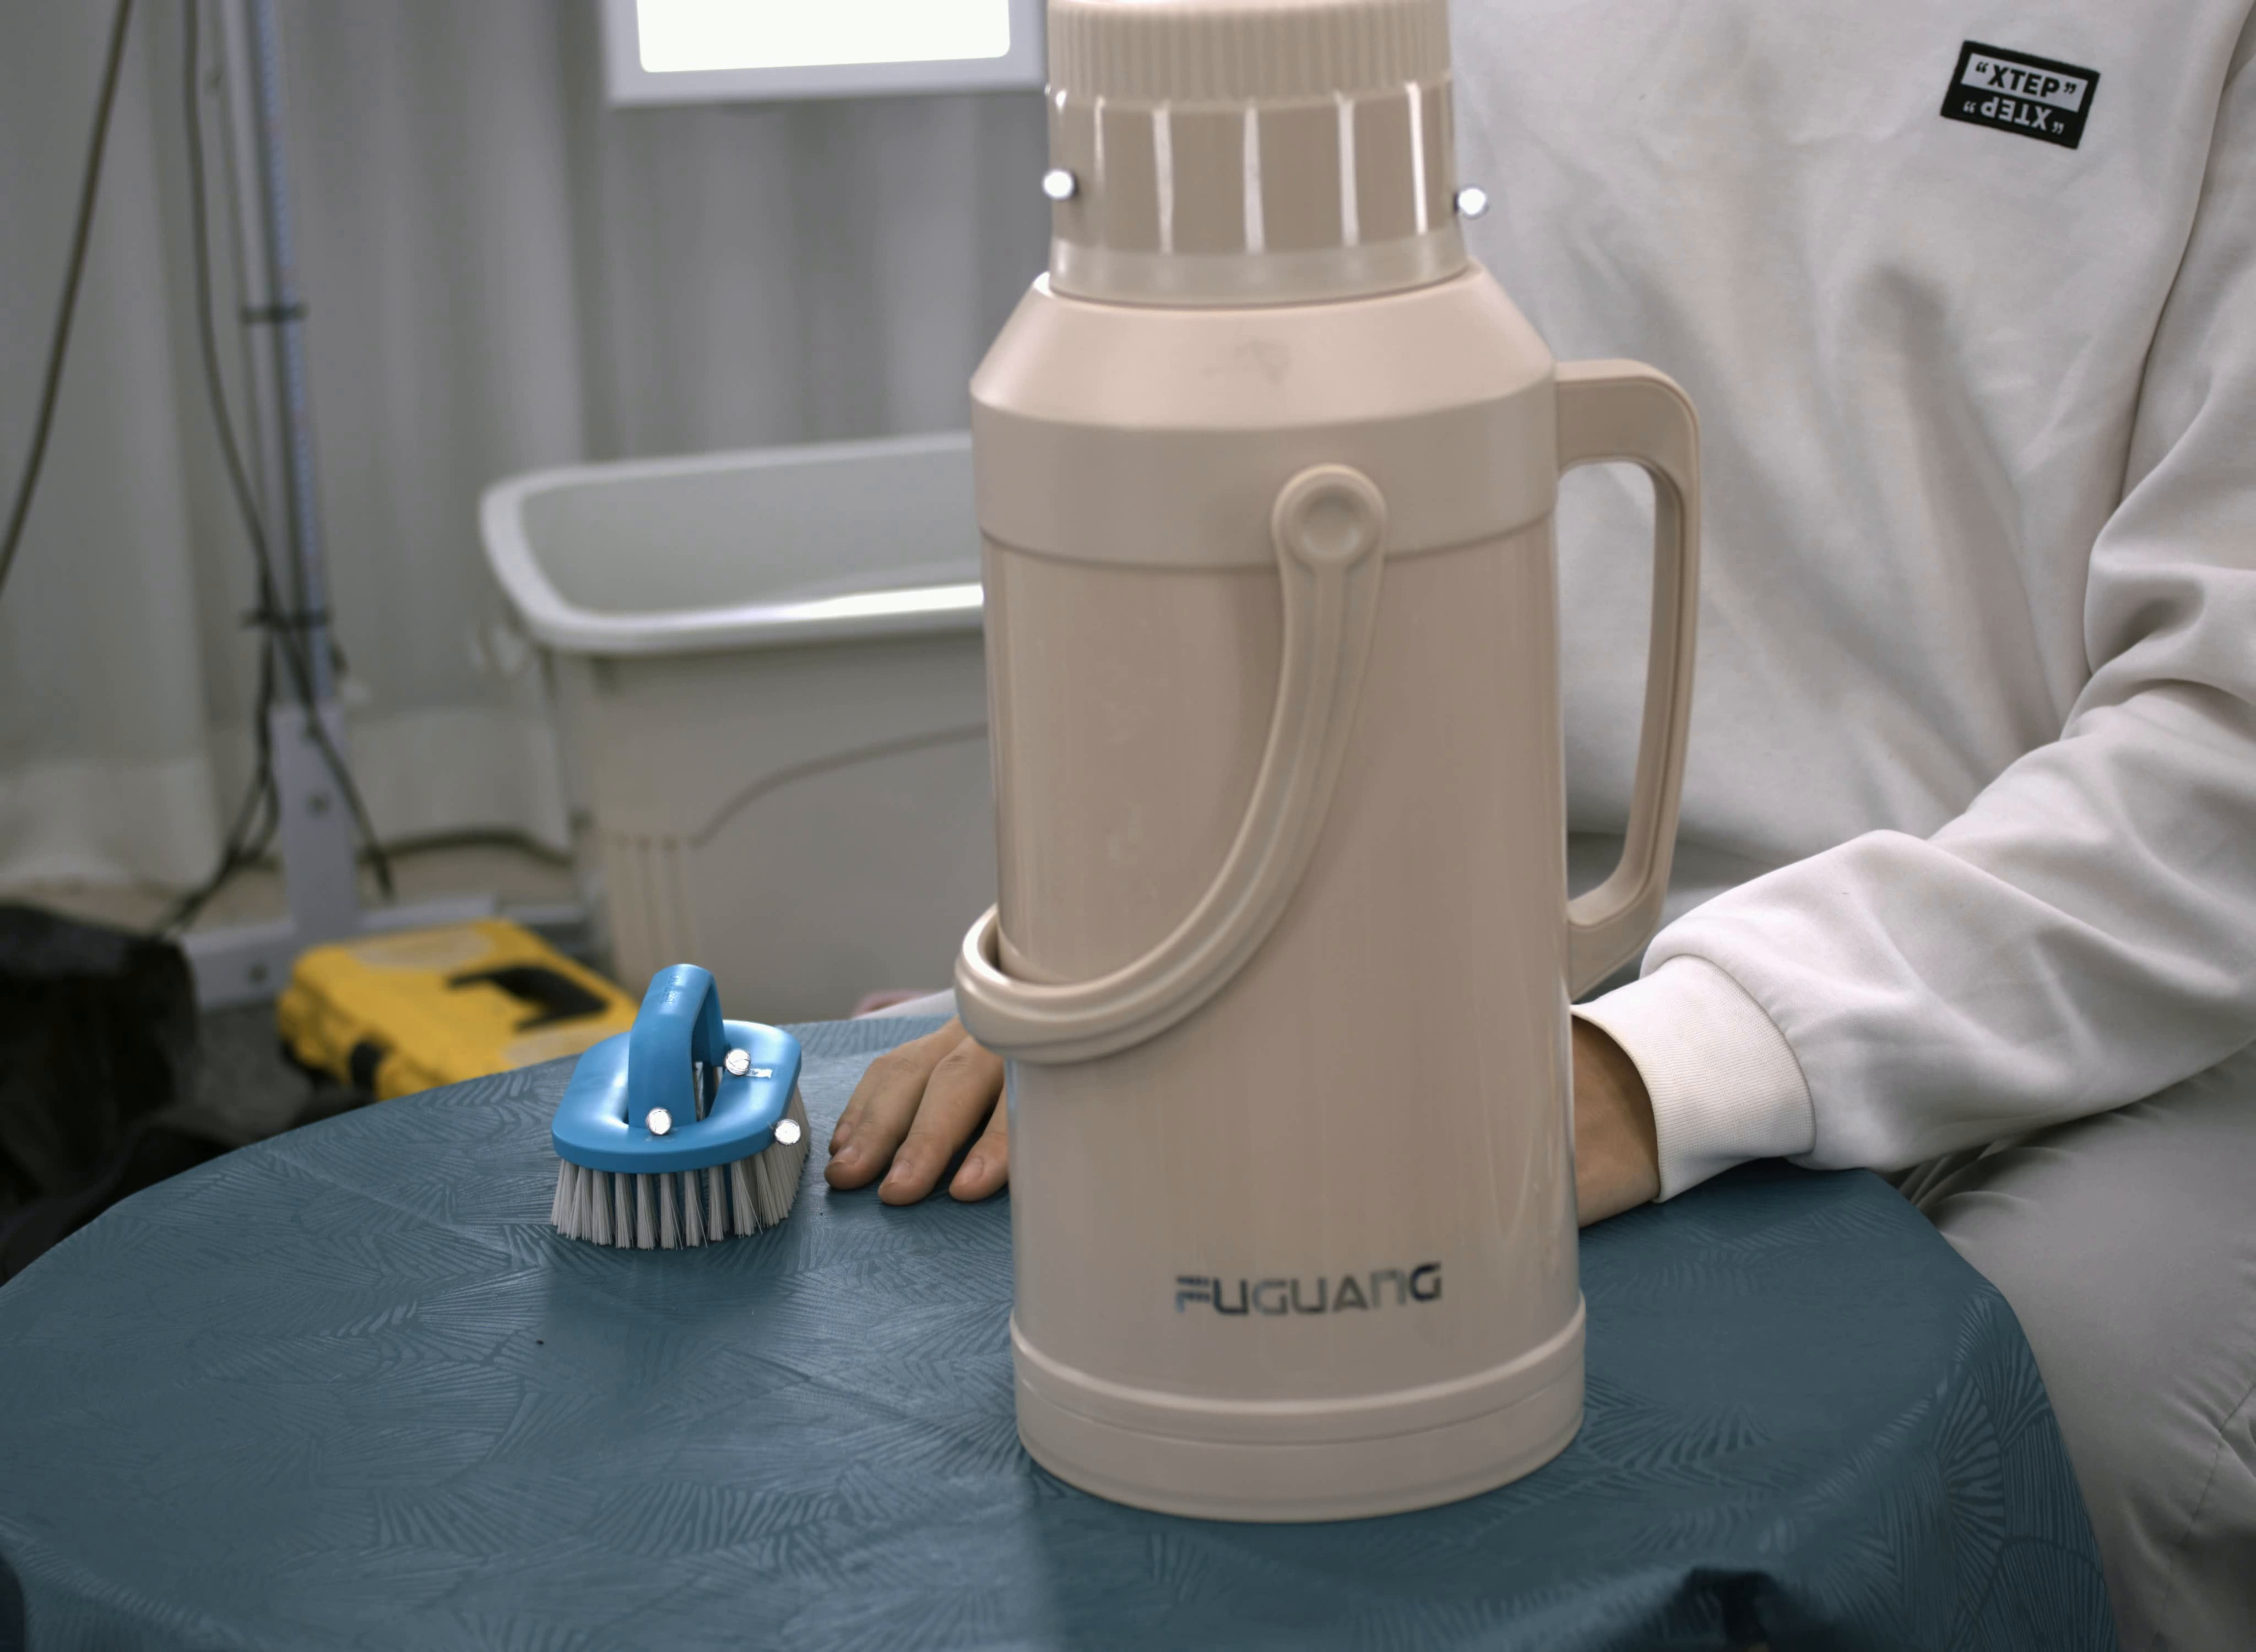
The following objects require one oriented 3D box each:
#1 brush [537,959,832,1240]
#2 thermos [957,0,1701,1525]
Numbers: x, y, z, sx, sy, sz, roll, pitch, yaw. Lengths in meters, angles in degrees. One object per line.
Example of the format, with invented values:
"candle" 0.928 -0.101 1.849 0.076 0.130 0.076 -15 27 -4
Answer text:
"brush" -0.143 0.081 1.743 0.084 0.063 0.142 -6 14 6
"thermos" 0.054 -0.027 1.476 0.206 0.405 0.176 -5 12 -9
